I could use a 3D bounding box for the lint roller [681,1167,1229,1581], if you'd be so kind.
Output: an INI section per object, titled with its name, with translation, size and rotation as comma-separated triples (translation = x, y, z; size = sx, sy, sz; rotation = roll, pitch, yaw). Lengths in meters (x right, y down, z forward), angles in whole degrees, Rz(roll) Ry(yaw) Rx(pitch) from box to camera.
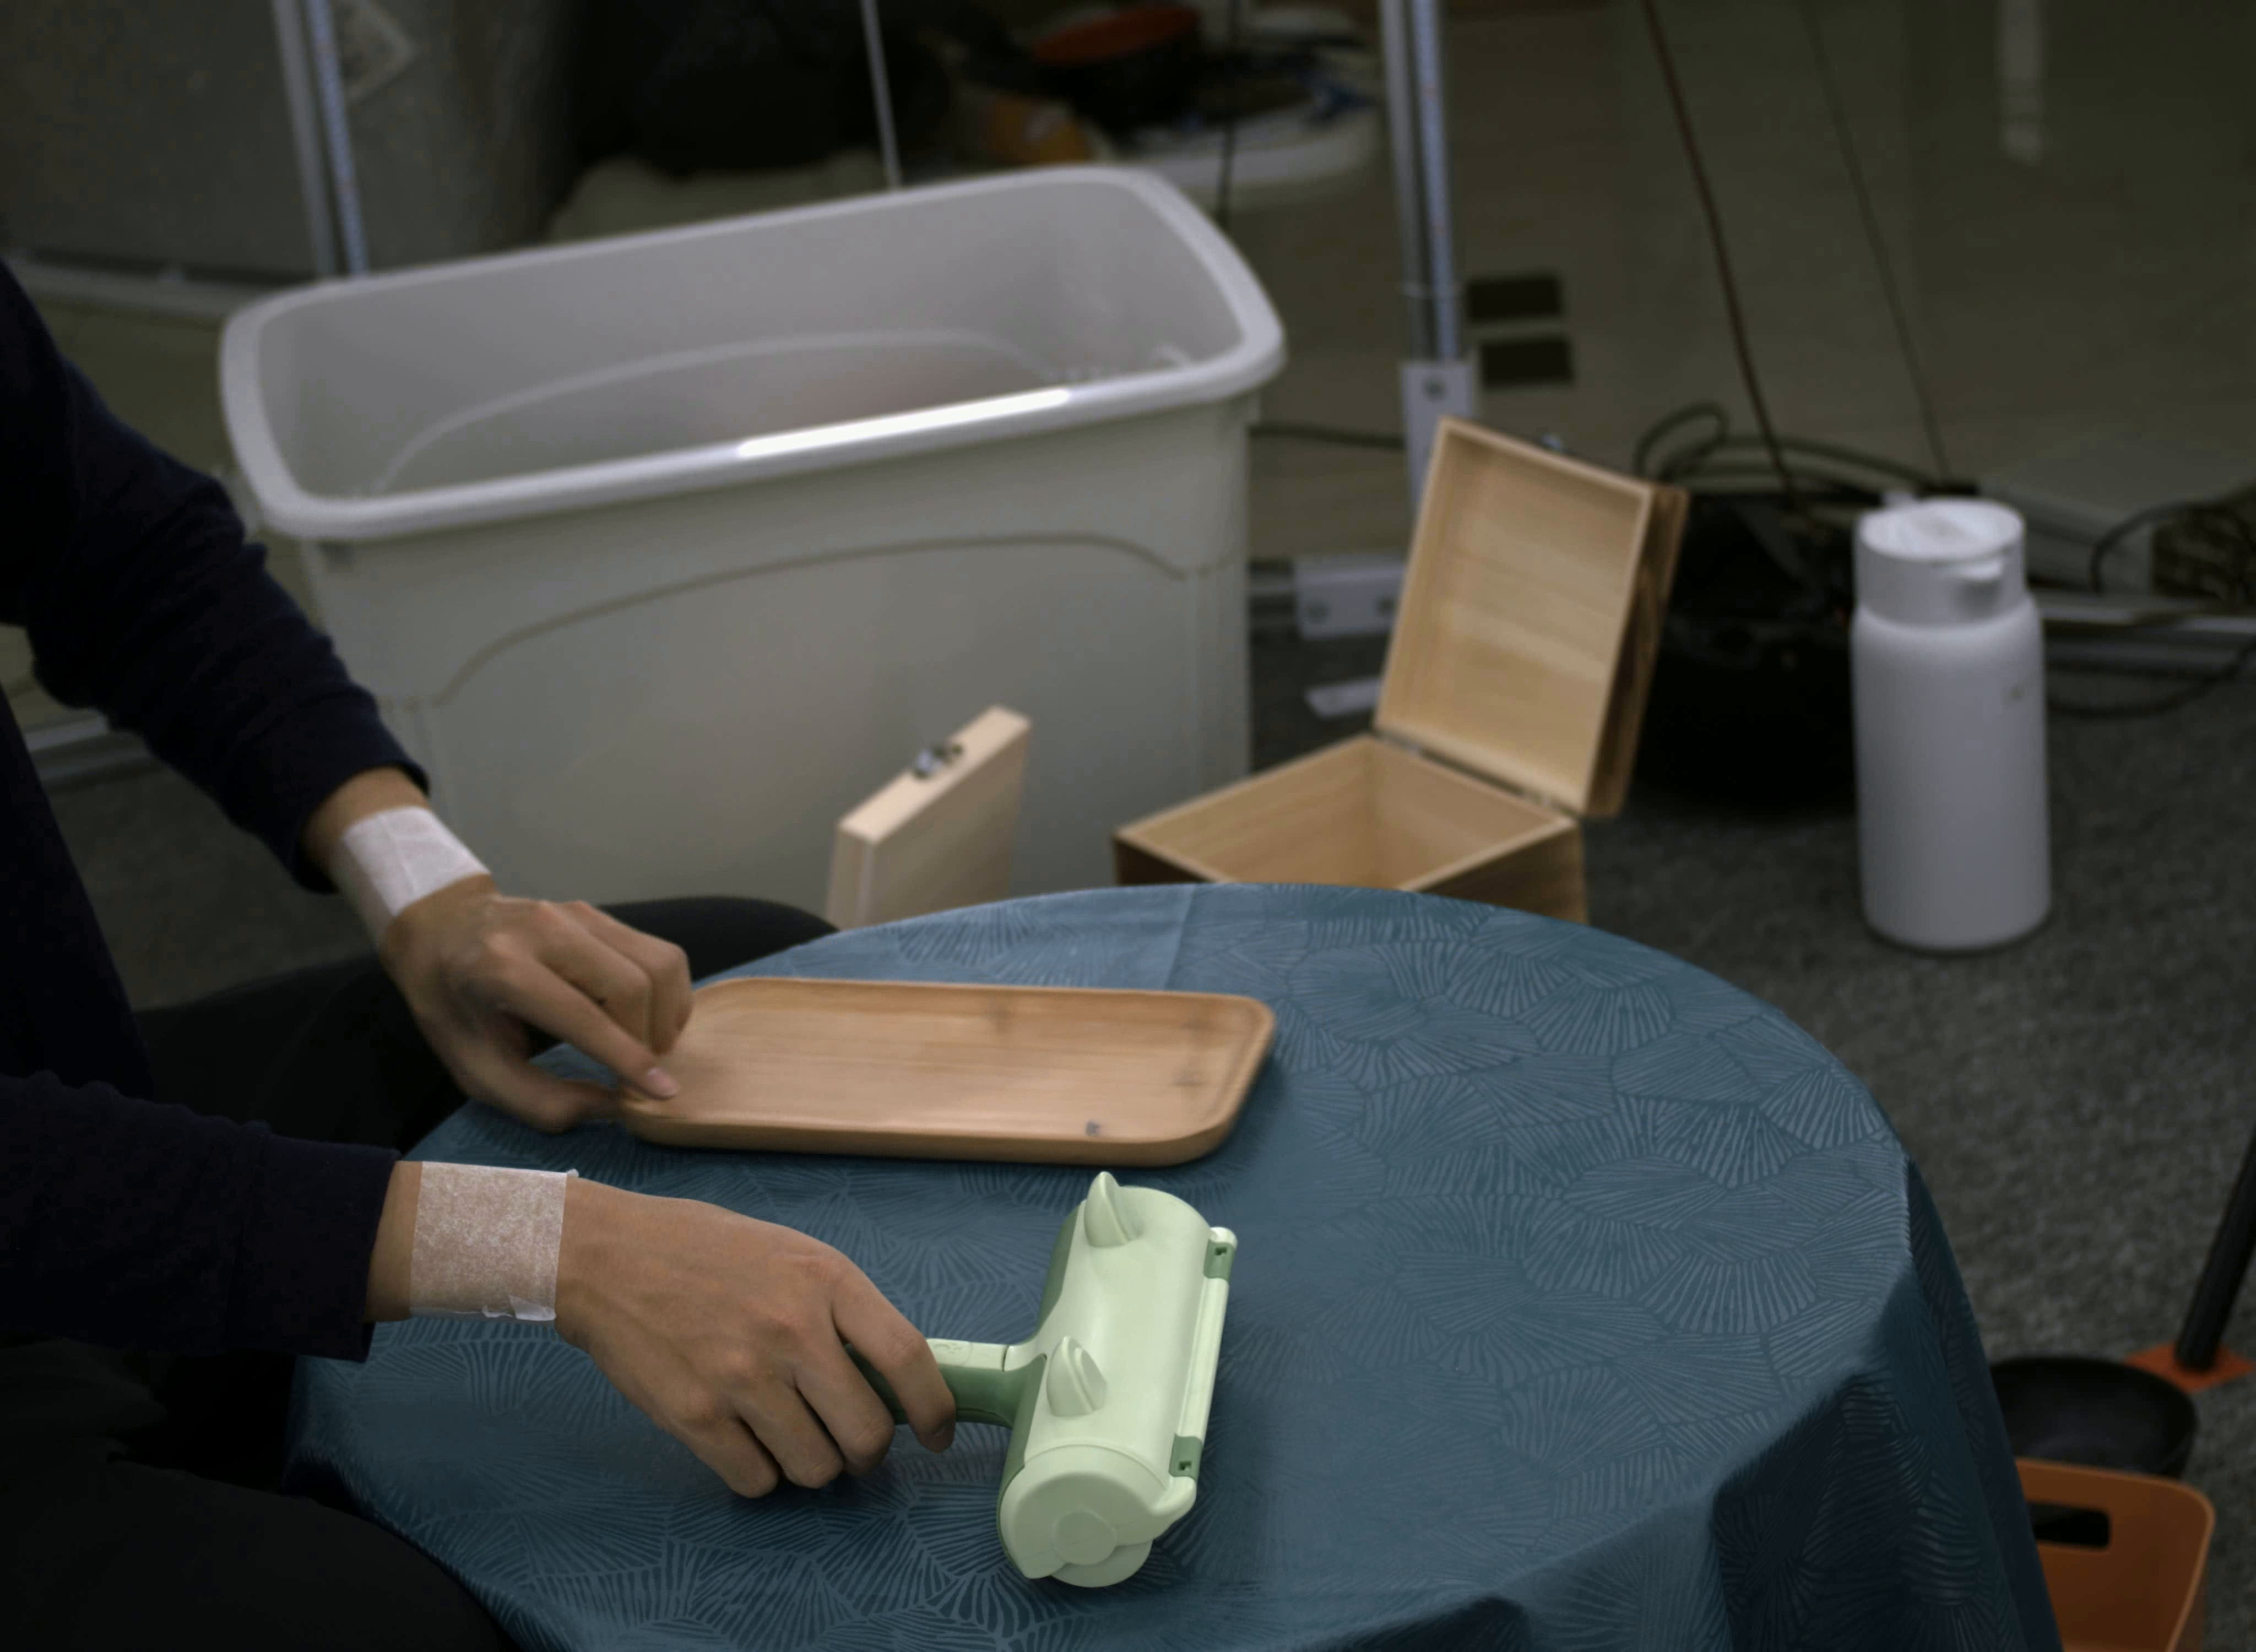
[lint roller]
translation = -0.062, 0.176, 1.963
size = 0.183, 0.083, 0.196
rotation = 8, 26, 2

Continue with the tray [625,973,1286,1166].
[tray]
translation = -0.067, 0.096, 2.232
size = 0.250, 0.023, 0.129
rotation = 1, 24, 15
